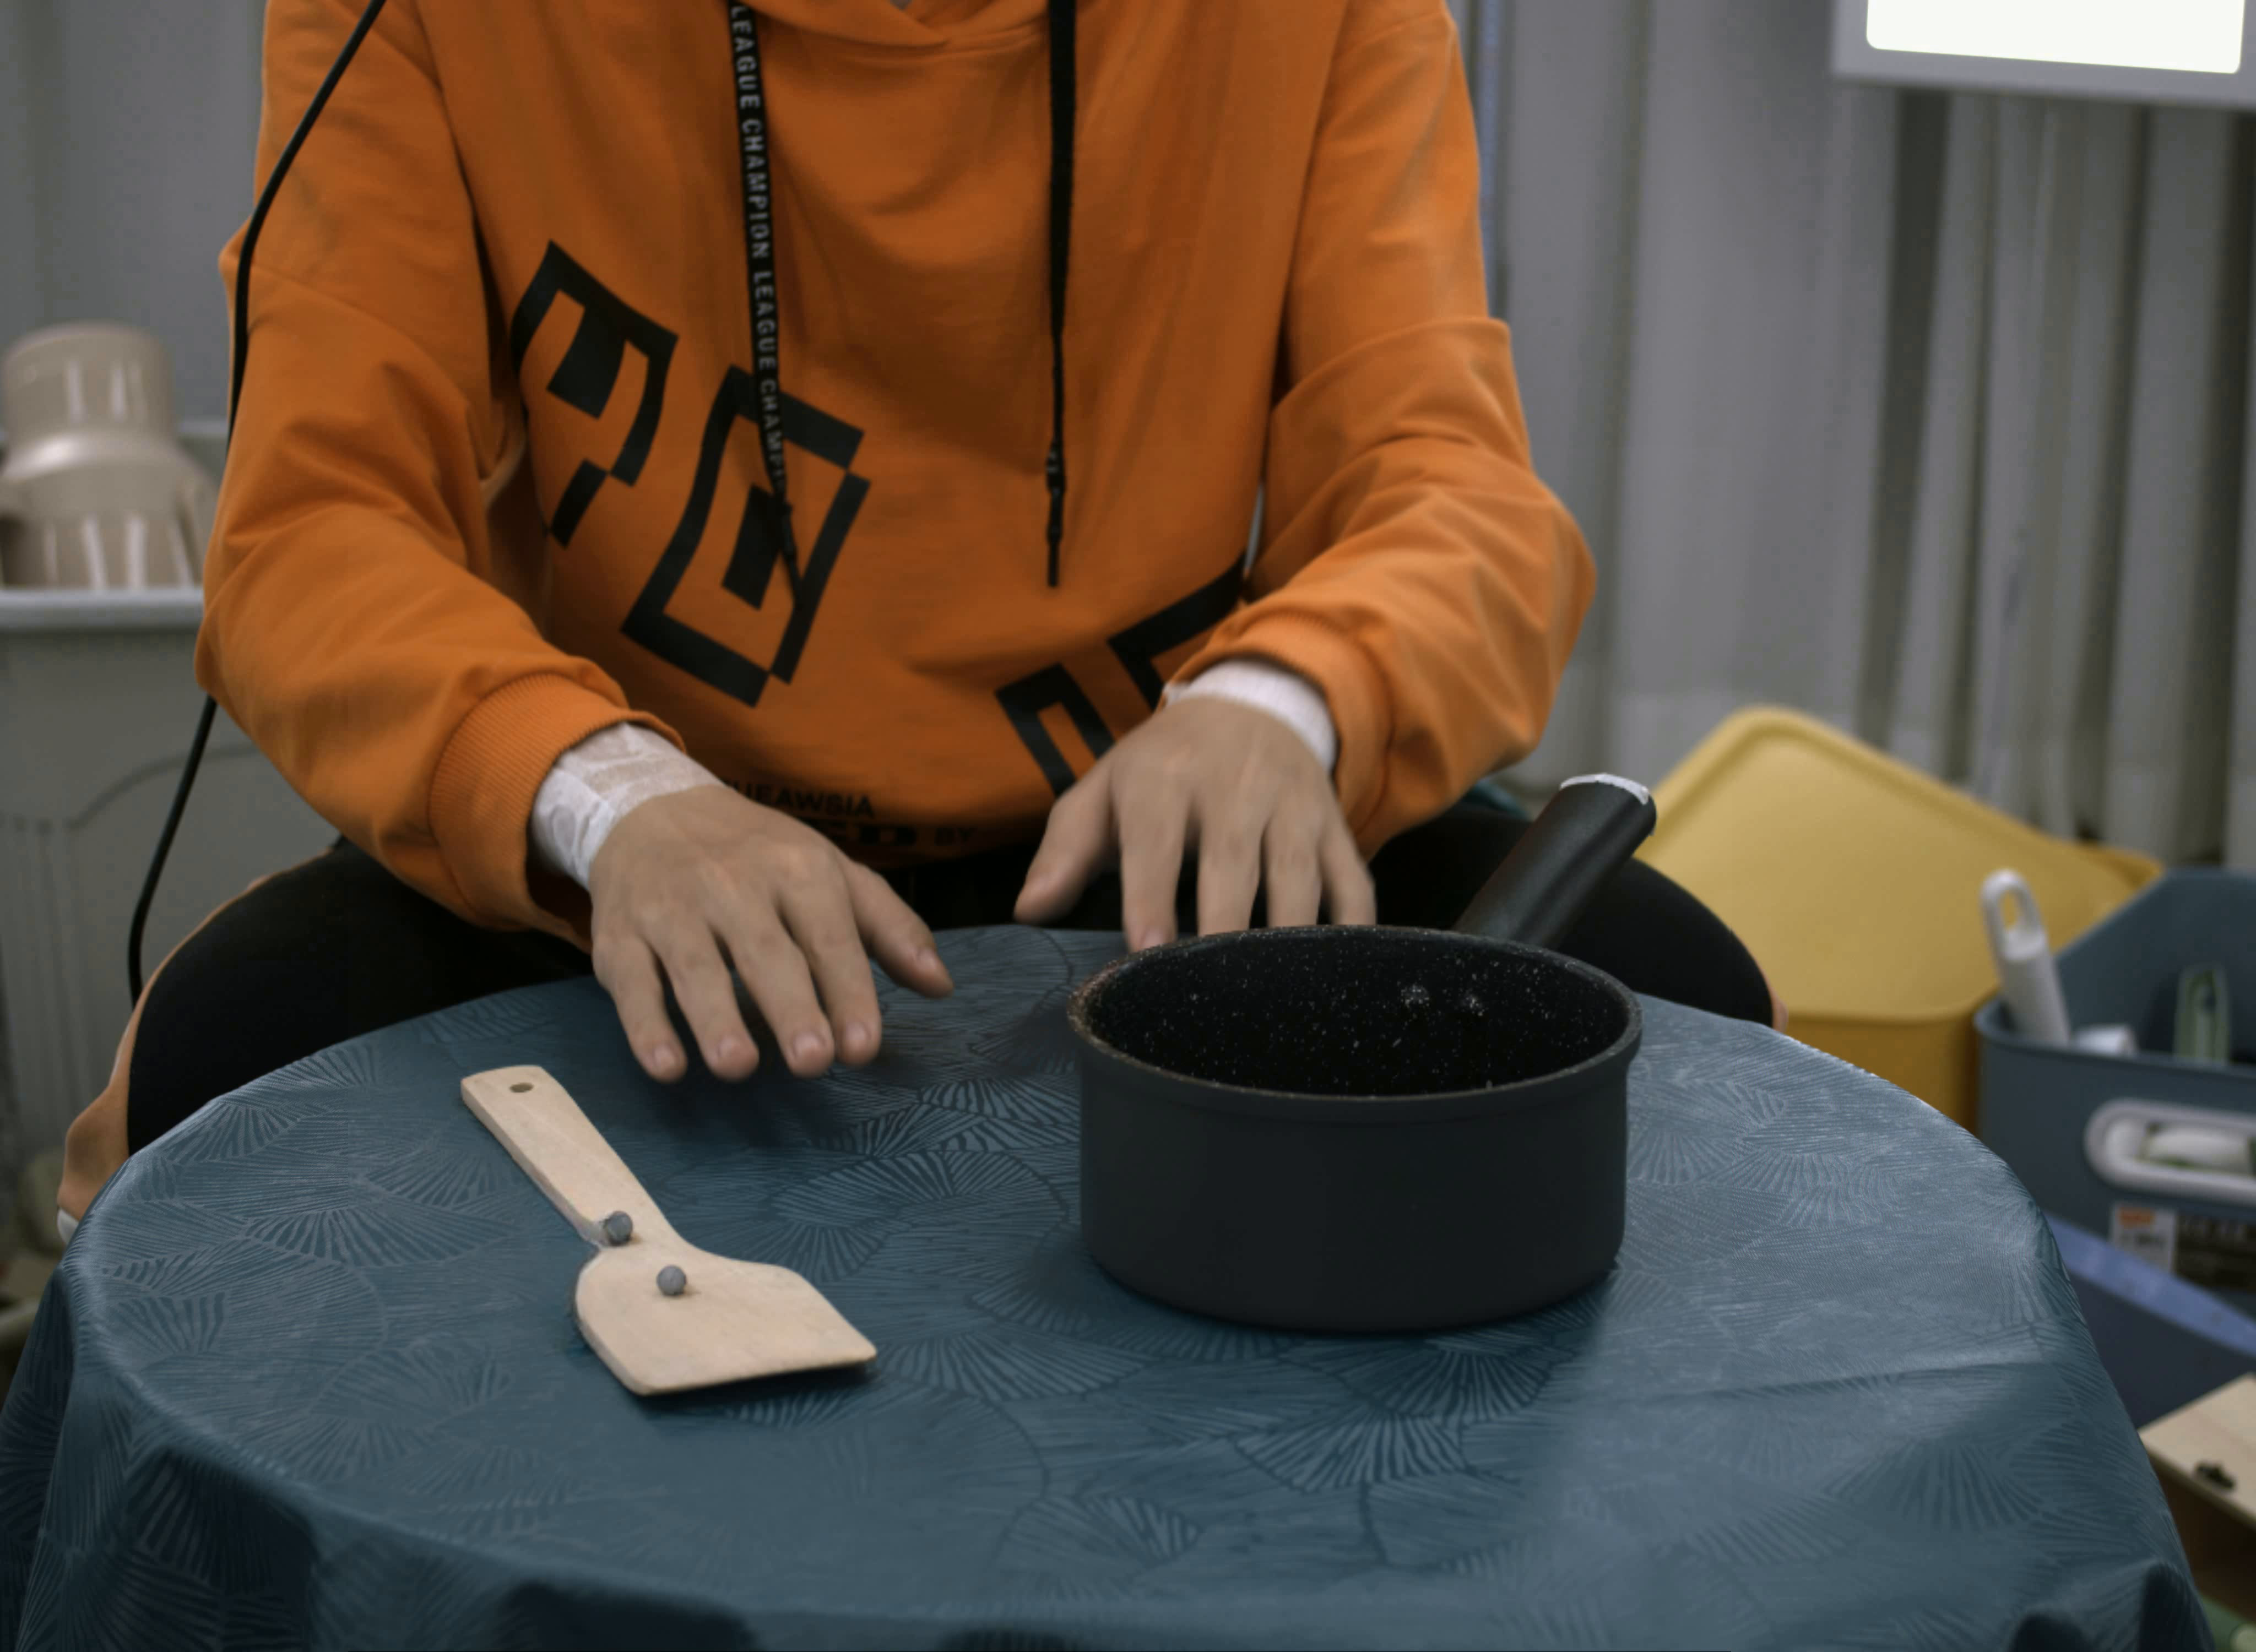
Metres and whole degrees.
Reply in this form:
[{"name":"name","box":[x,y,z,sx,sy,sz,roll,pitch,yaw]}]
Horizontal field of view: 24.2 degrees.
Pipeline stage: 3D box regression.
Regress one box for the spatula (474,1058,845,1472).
[{"name":"spatula","box":[-0.157,0.127,1.592,0.072,0.011,0.289,-13,23,-15]}]

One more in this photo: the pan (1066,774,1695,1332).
[{"name":"pan","box":[0.101,0.066,1.634,0.170,0.087,0.329,9,19,24]}]
